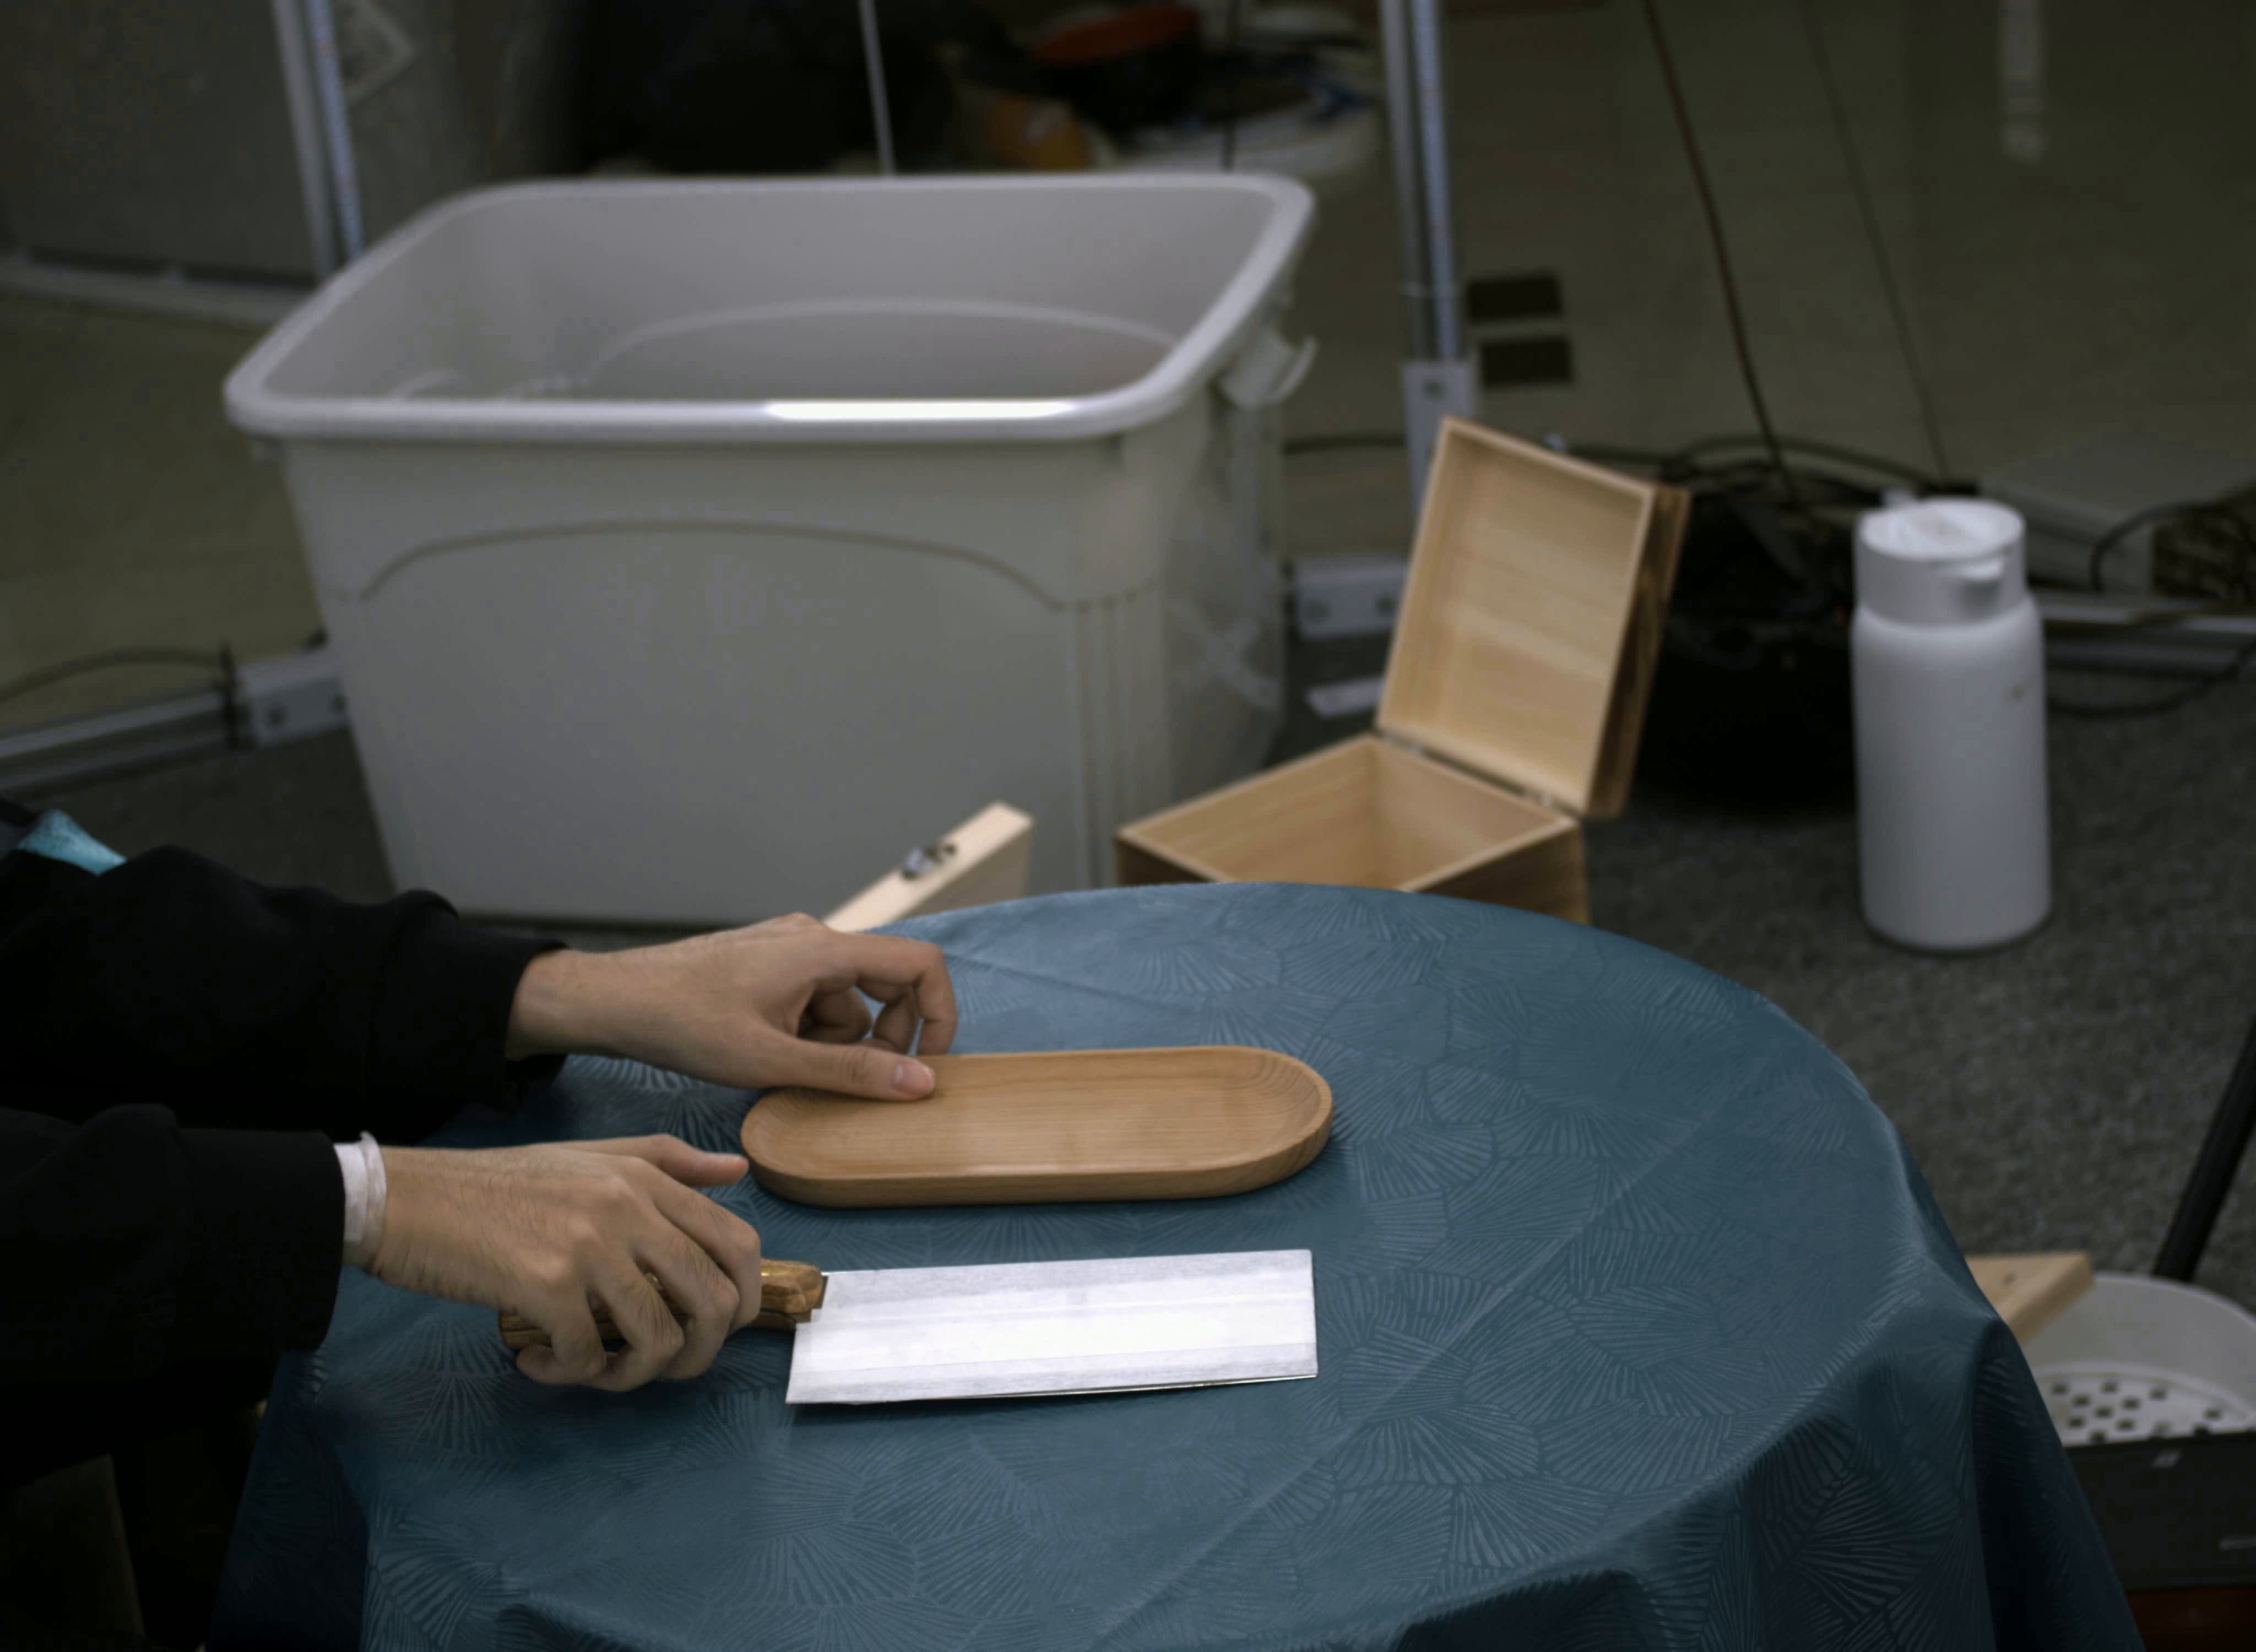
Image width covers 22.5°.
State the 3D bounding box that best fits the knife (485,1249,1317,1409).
[{"bbox_3d":[-0.084,0.183,2.055,0.305,0.021,0.091,-3,27,2],"label":"knife"}]

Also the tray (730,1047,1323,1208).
[{"bbox_3d":[-0.039,0.117,2.184,0.231,0.020,0.100,-3,25,10],"label":"tray"}]
